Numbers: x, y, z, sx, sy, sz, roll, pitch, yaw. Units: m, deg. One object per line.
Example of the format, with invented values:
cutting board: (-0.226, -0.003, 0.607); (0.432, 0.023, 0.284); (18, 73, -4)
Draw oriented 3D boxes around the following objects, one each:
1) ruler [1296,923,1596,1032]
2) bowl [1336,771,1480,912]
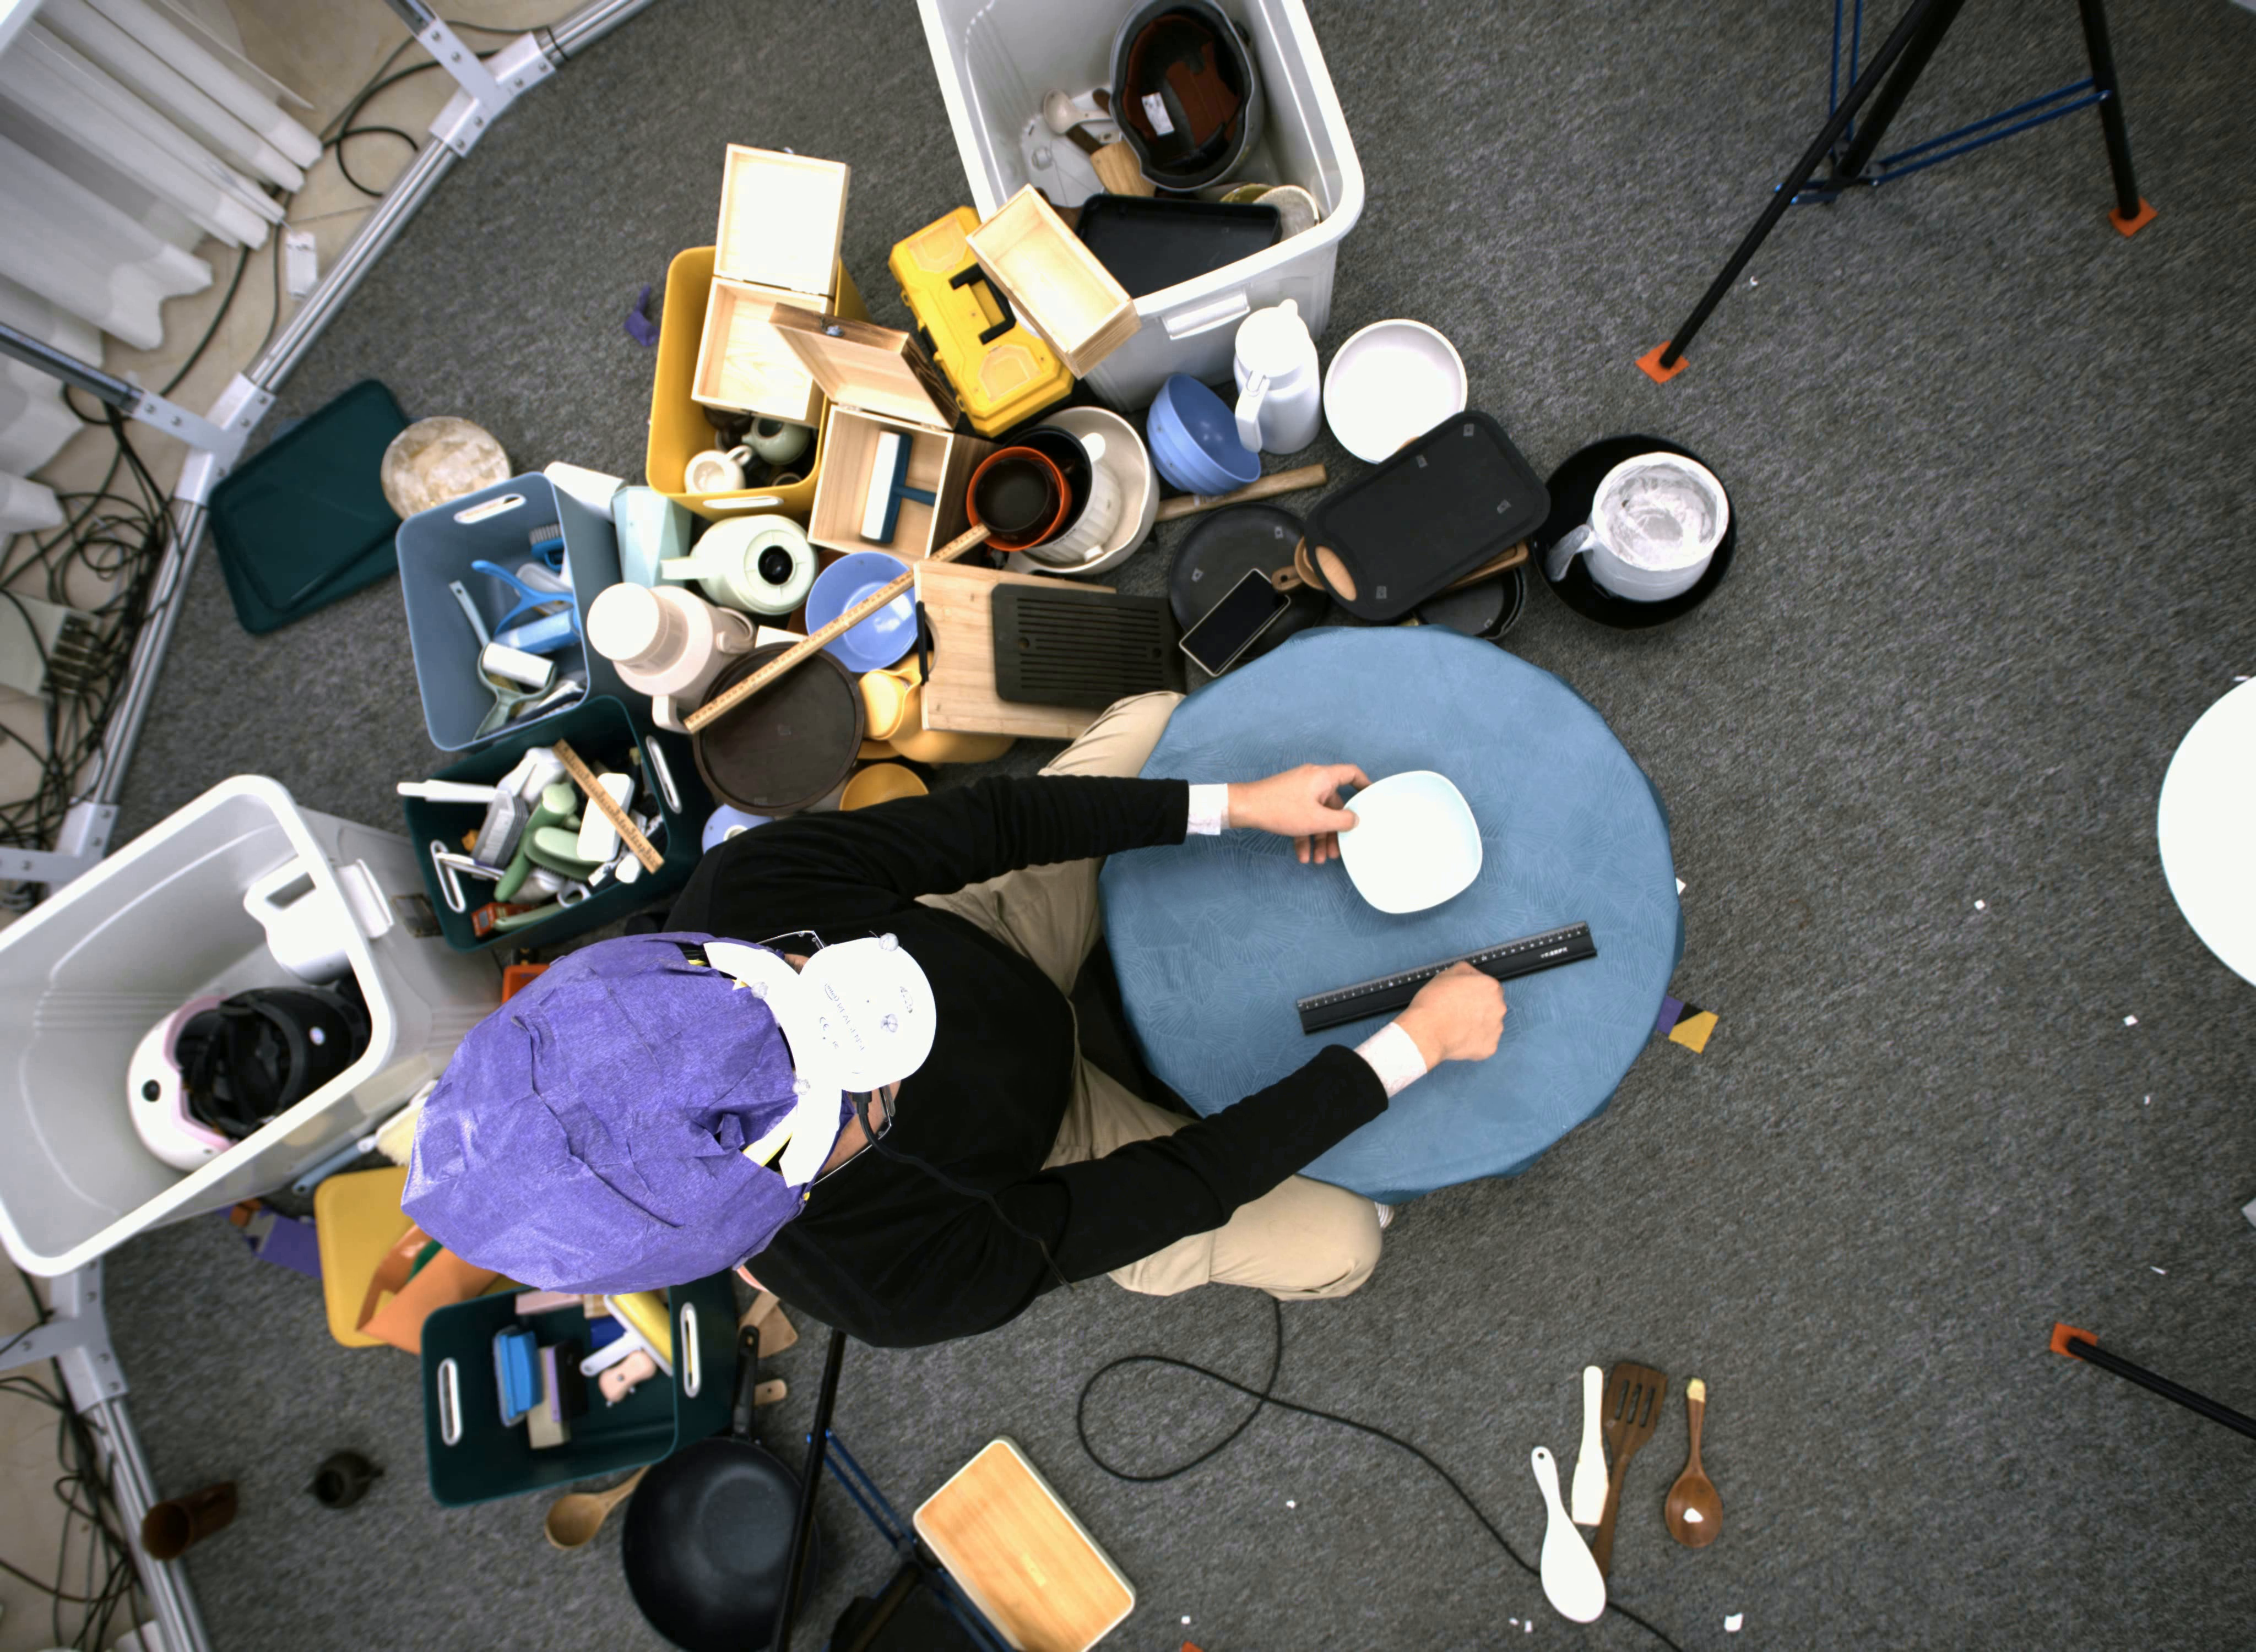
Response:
ruler: (0.330, 0.156, 1.436); (0.314, 0.017, 0.039); (-16, 81, 9)
bowl: (0.289, 0.017, 1.431); (0.152, 0.059, 0.151); (-1, 86, 8)
